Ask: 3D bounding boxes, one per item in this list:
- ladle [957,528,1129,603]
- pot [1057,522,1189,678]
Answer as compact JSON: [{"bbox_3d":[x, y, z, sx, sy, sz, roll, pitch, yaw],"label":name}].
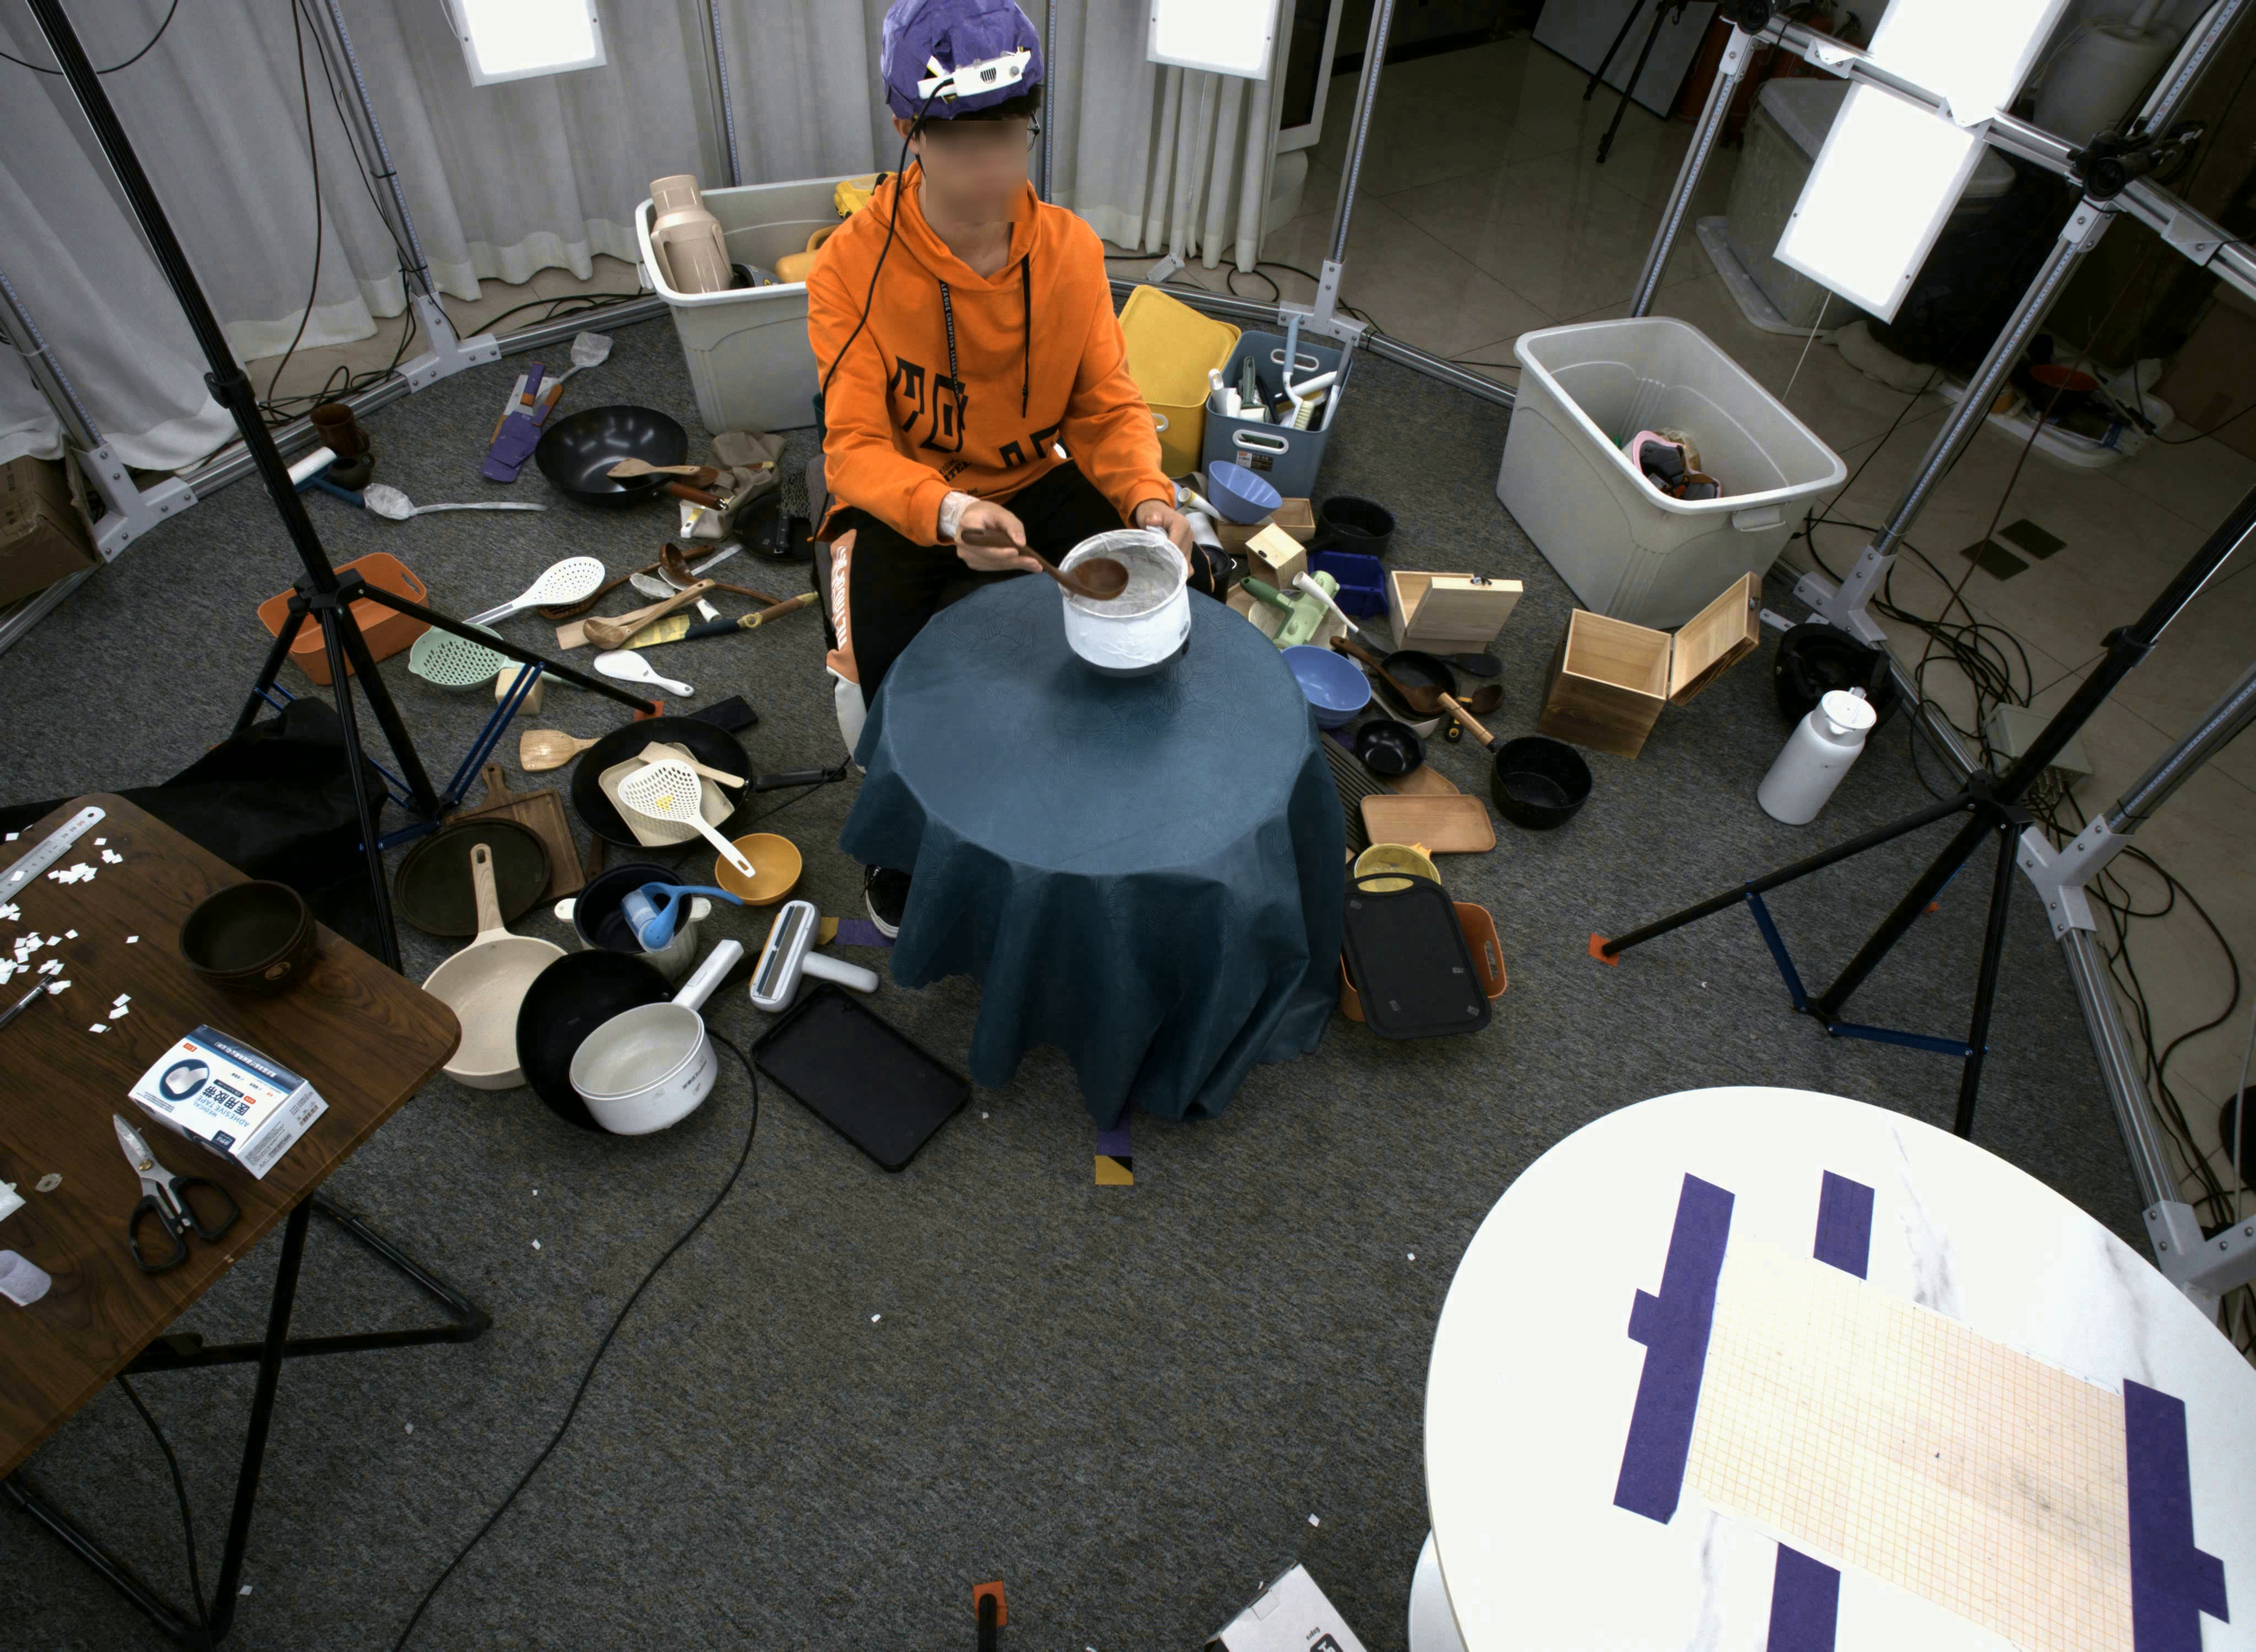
[{"bbox_3d":[-0.104,-0.349,1.662,0.257,0.064,0.078,17,29,-44],"label":"ladle"},{"bbox_3d":[0.007,-0.326,1.802,0.180,0.133,0.238,16,55,17],"label":"pot"}]
